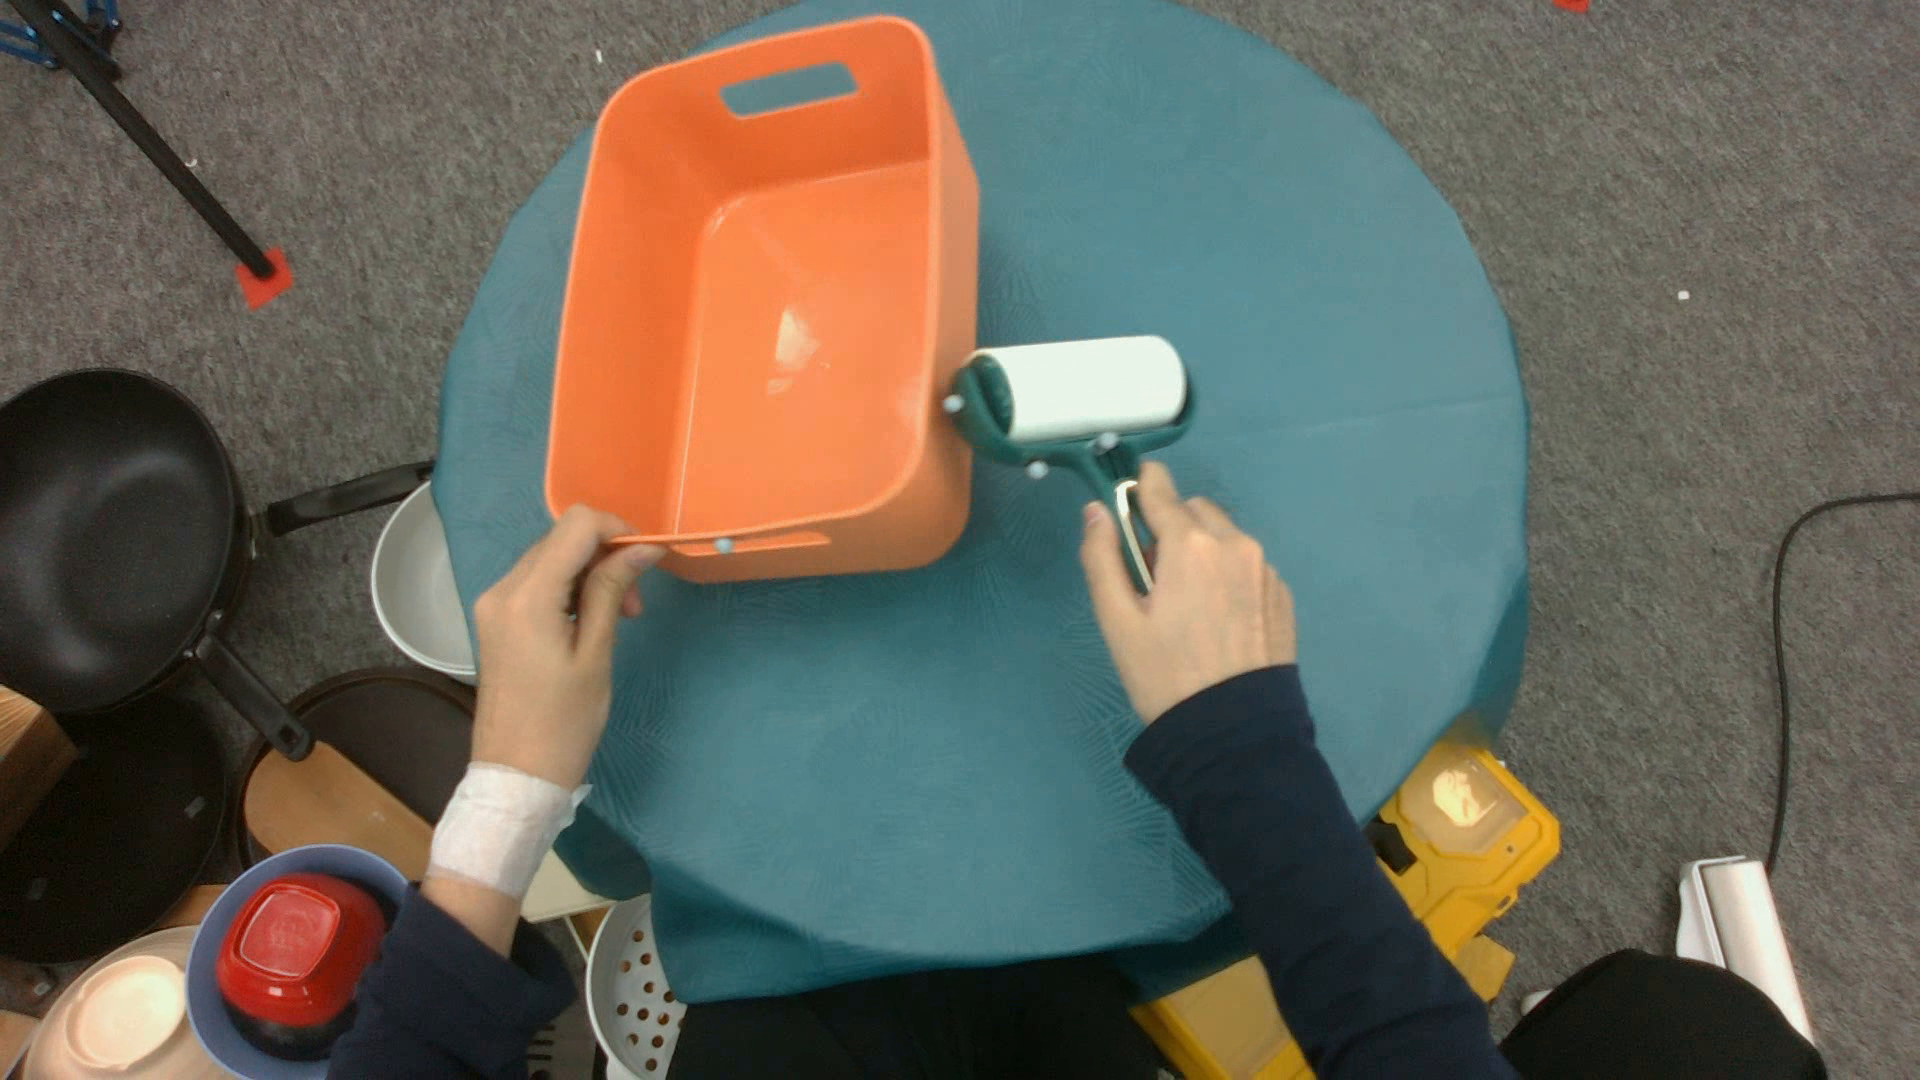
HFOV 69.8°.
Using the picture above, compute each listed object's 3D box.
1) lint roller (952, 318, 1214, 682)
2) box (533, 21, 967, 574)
[{"bbox_3d":[0.080,-0.024,0.634,0.135,0.048,0.180,-9,63,-31],"label":"lint roller"},{"bbox_3d":[-0.092,-0.116,0.700,0.199,0.102,0.274,-4,68,14],"label":"box"}]
